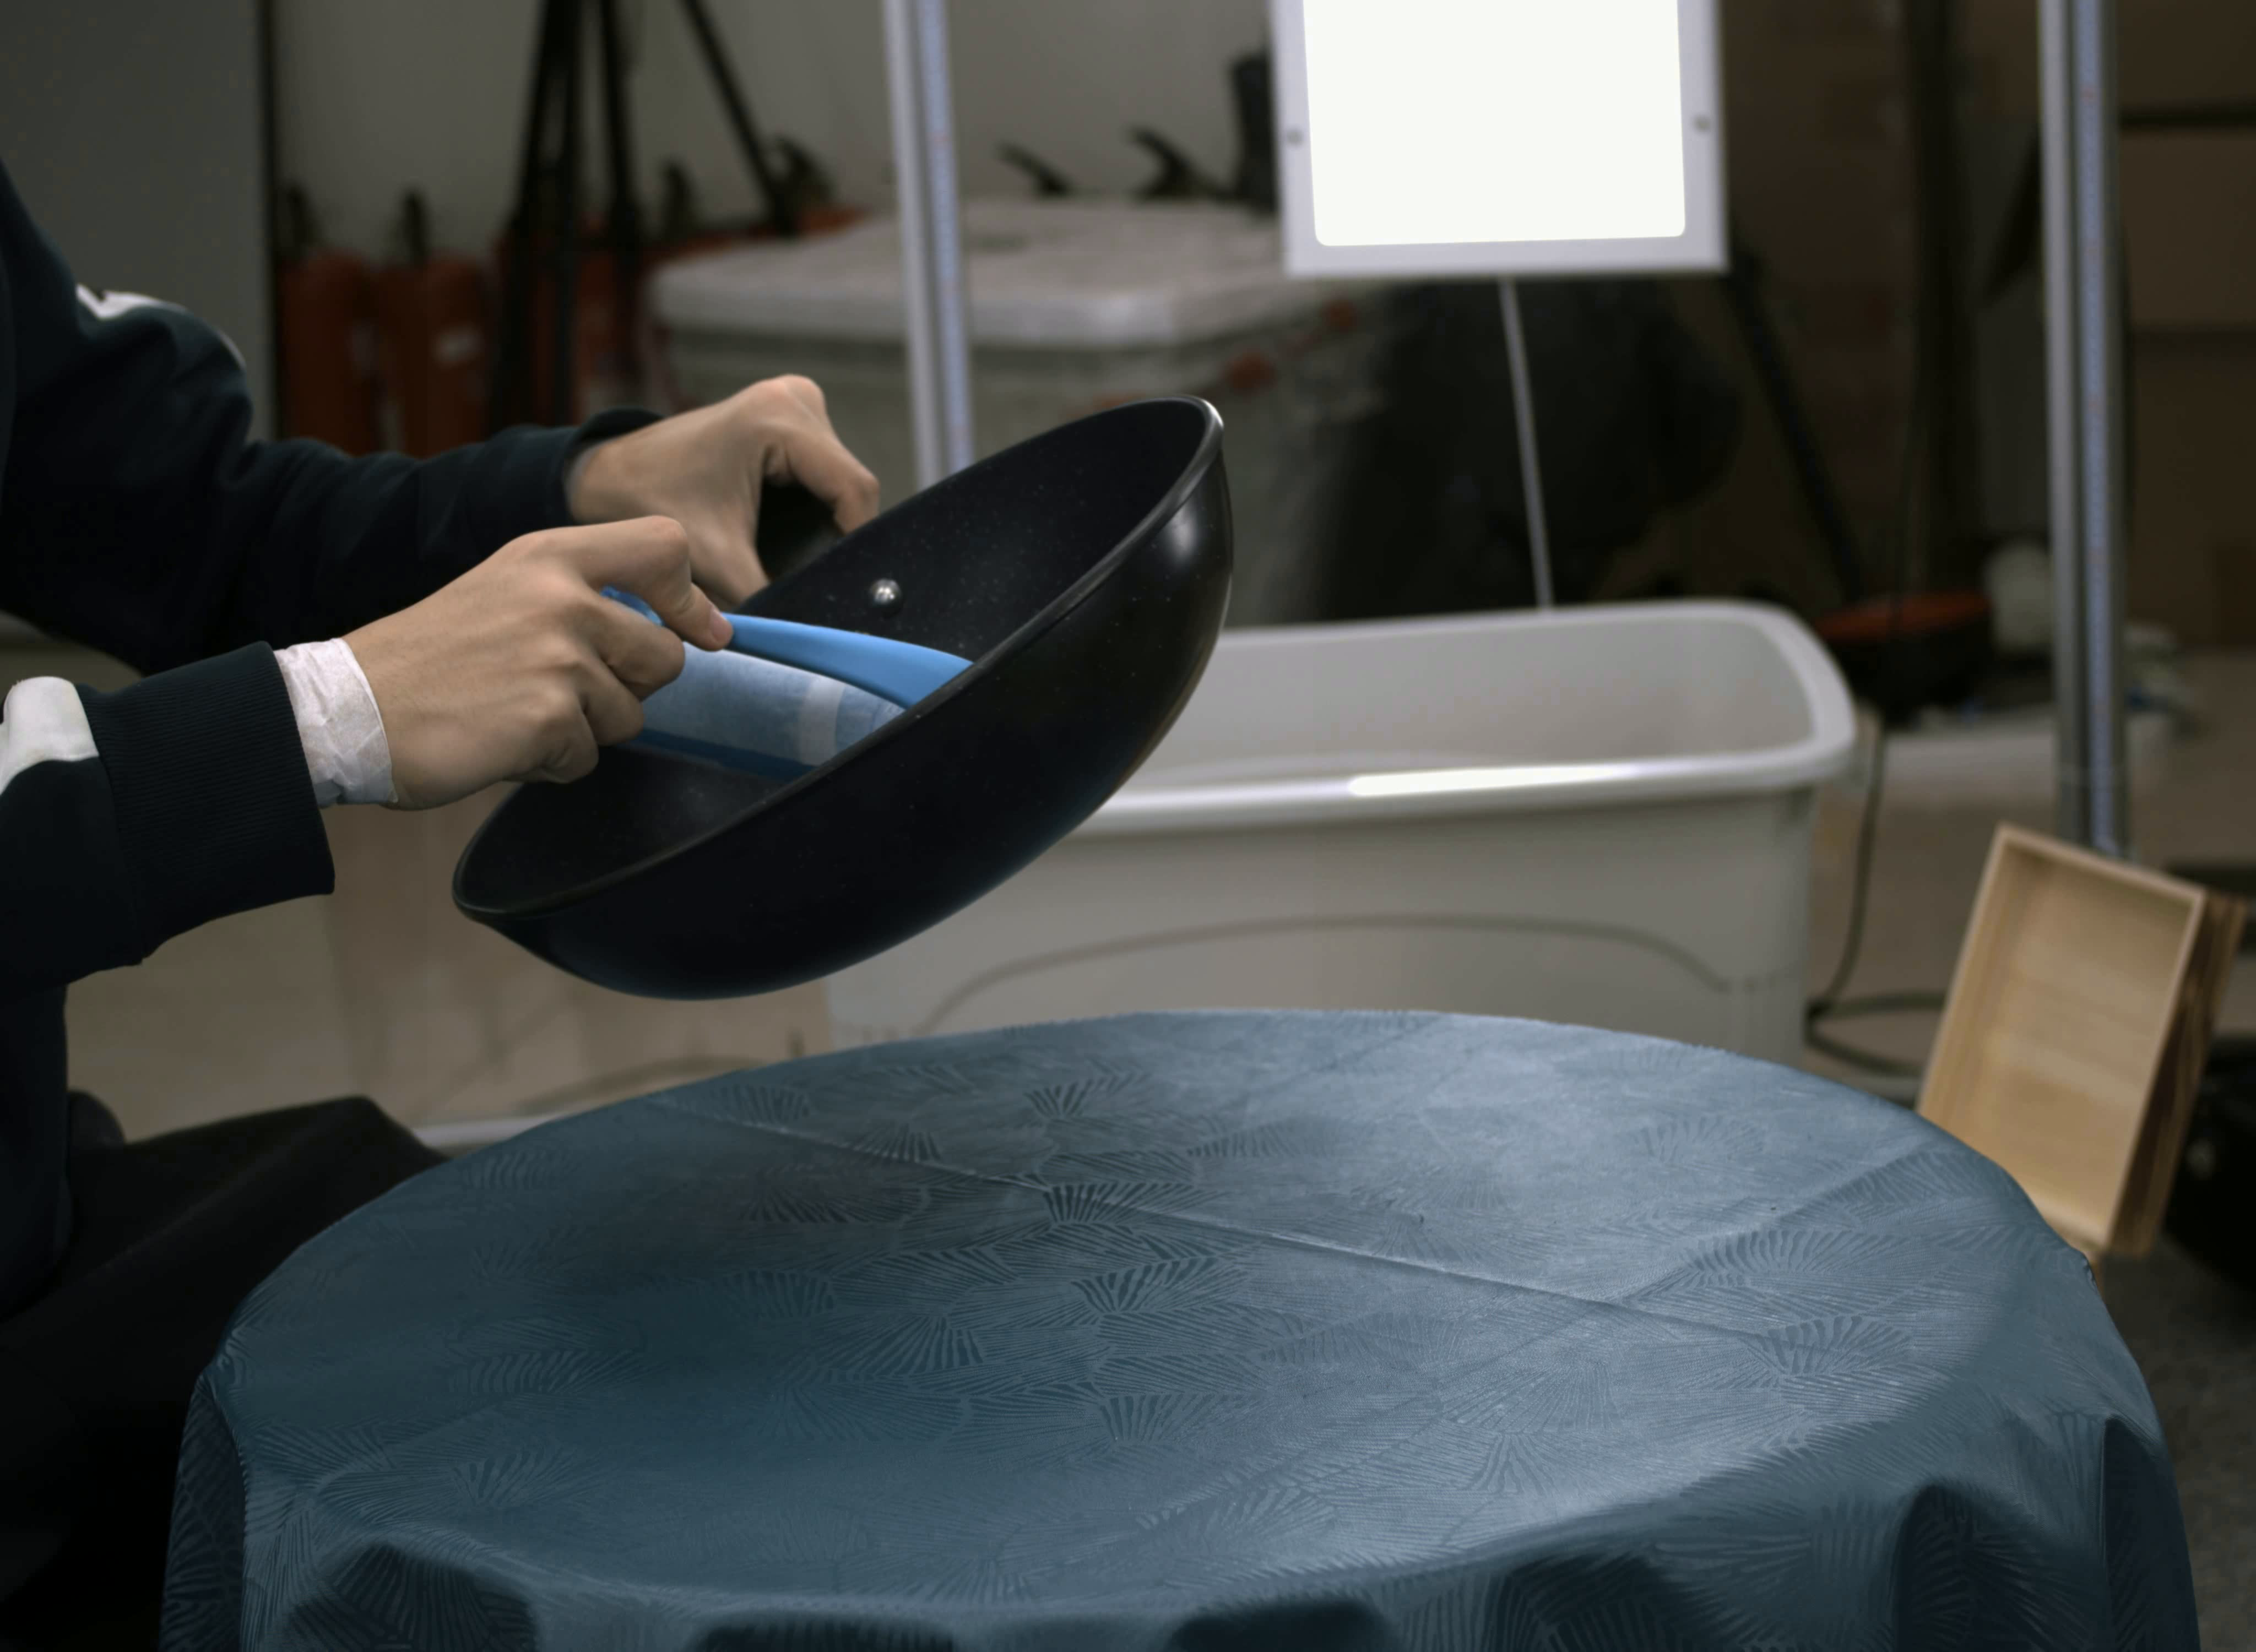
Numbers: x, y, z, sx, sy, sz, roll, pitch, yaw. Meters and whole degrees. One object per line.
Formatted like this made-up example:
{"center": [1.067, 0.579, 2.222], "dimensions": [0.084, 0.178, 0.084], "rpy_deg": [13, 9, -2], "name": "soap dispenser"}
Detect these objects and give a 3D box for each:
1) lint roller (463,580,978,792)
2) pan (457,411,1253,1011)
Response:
{"center": [-0.147, -0.041, 1.868], "dimensions": [0.233, 0.068, 0.176], "rpy_deg": [15, 8, 42], "name": "lint roller"}
{"center": [-0.093, -0.053, 1.955], "dimensions": [0.310, 0.111, 0.478], "rpy_deg": [-32, 15, 1], "name": "pan"}
